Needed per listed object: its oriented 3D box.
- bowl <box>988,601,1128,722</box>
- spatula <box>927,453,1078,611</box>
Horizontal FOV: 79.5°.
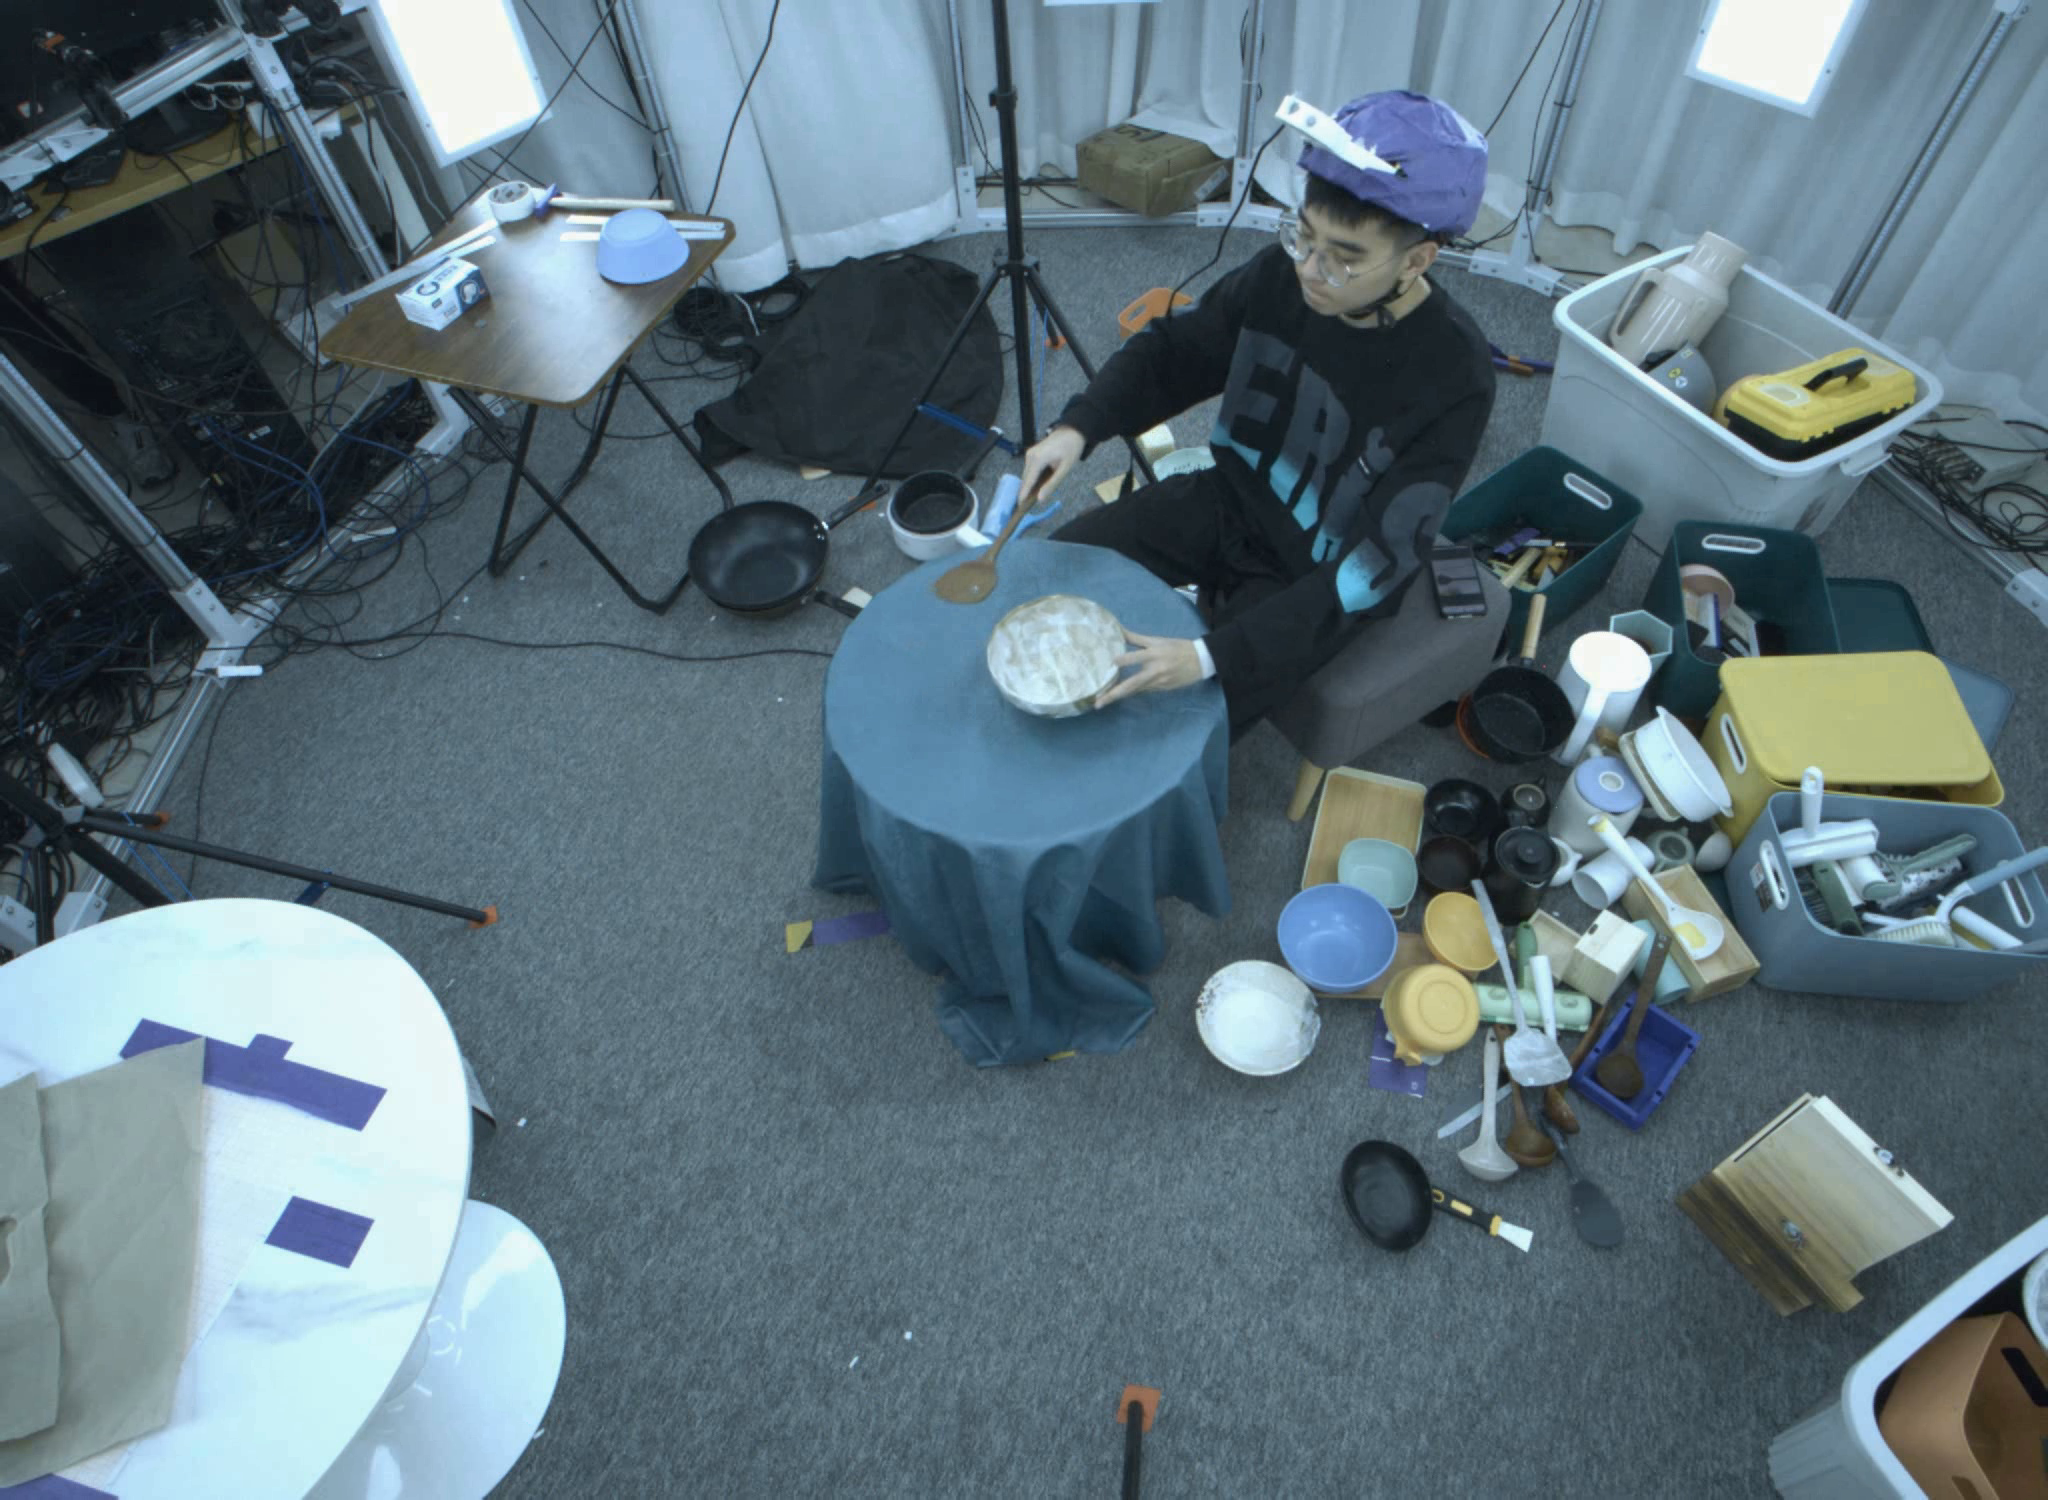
[{"bbox_3d":[0.055,-0.118,1.815,0.214,0.095,0.212,-1,56,3],"label":"bowl"},{"bbox_3d":[-0.016,-0.338,1.847,0.094,0.016,0.387,17,56,26],"label":"spatula"}]
